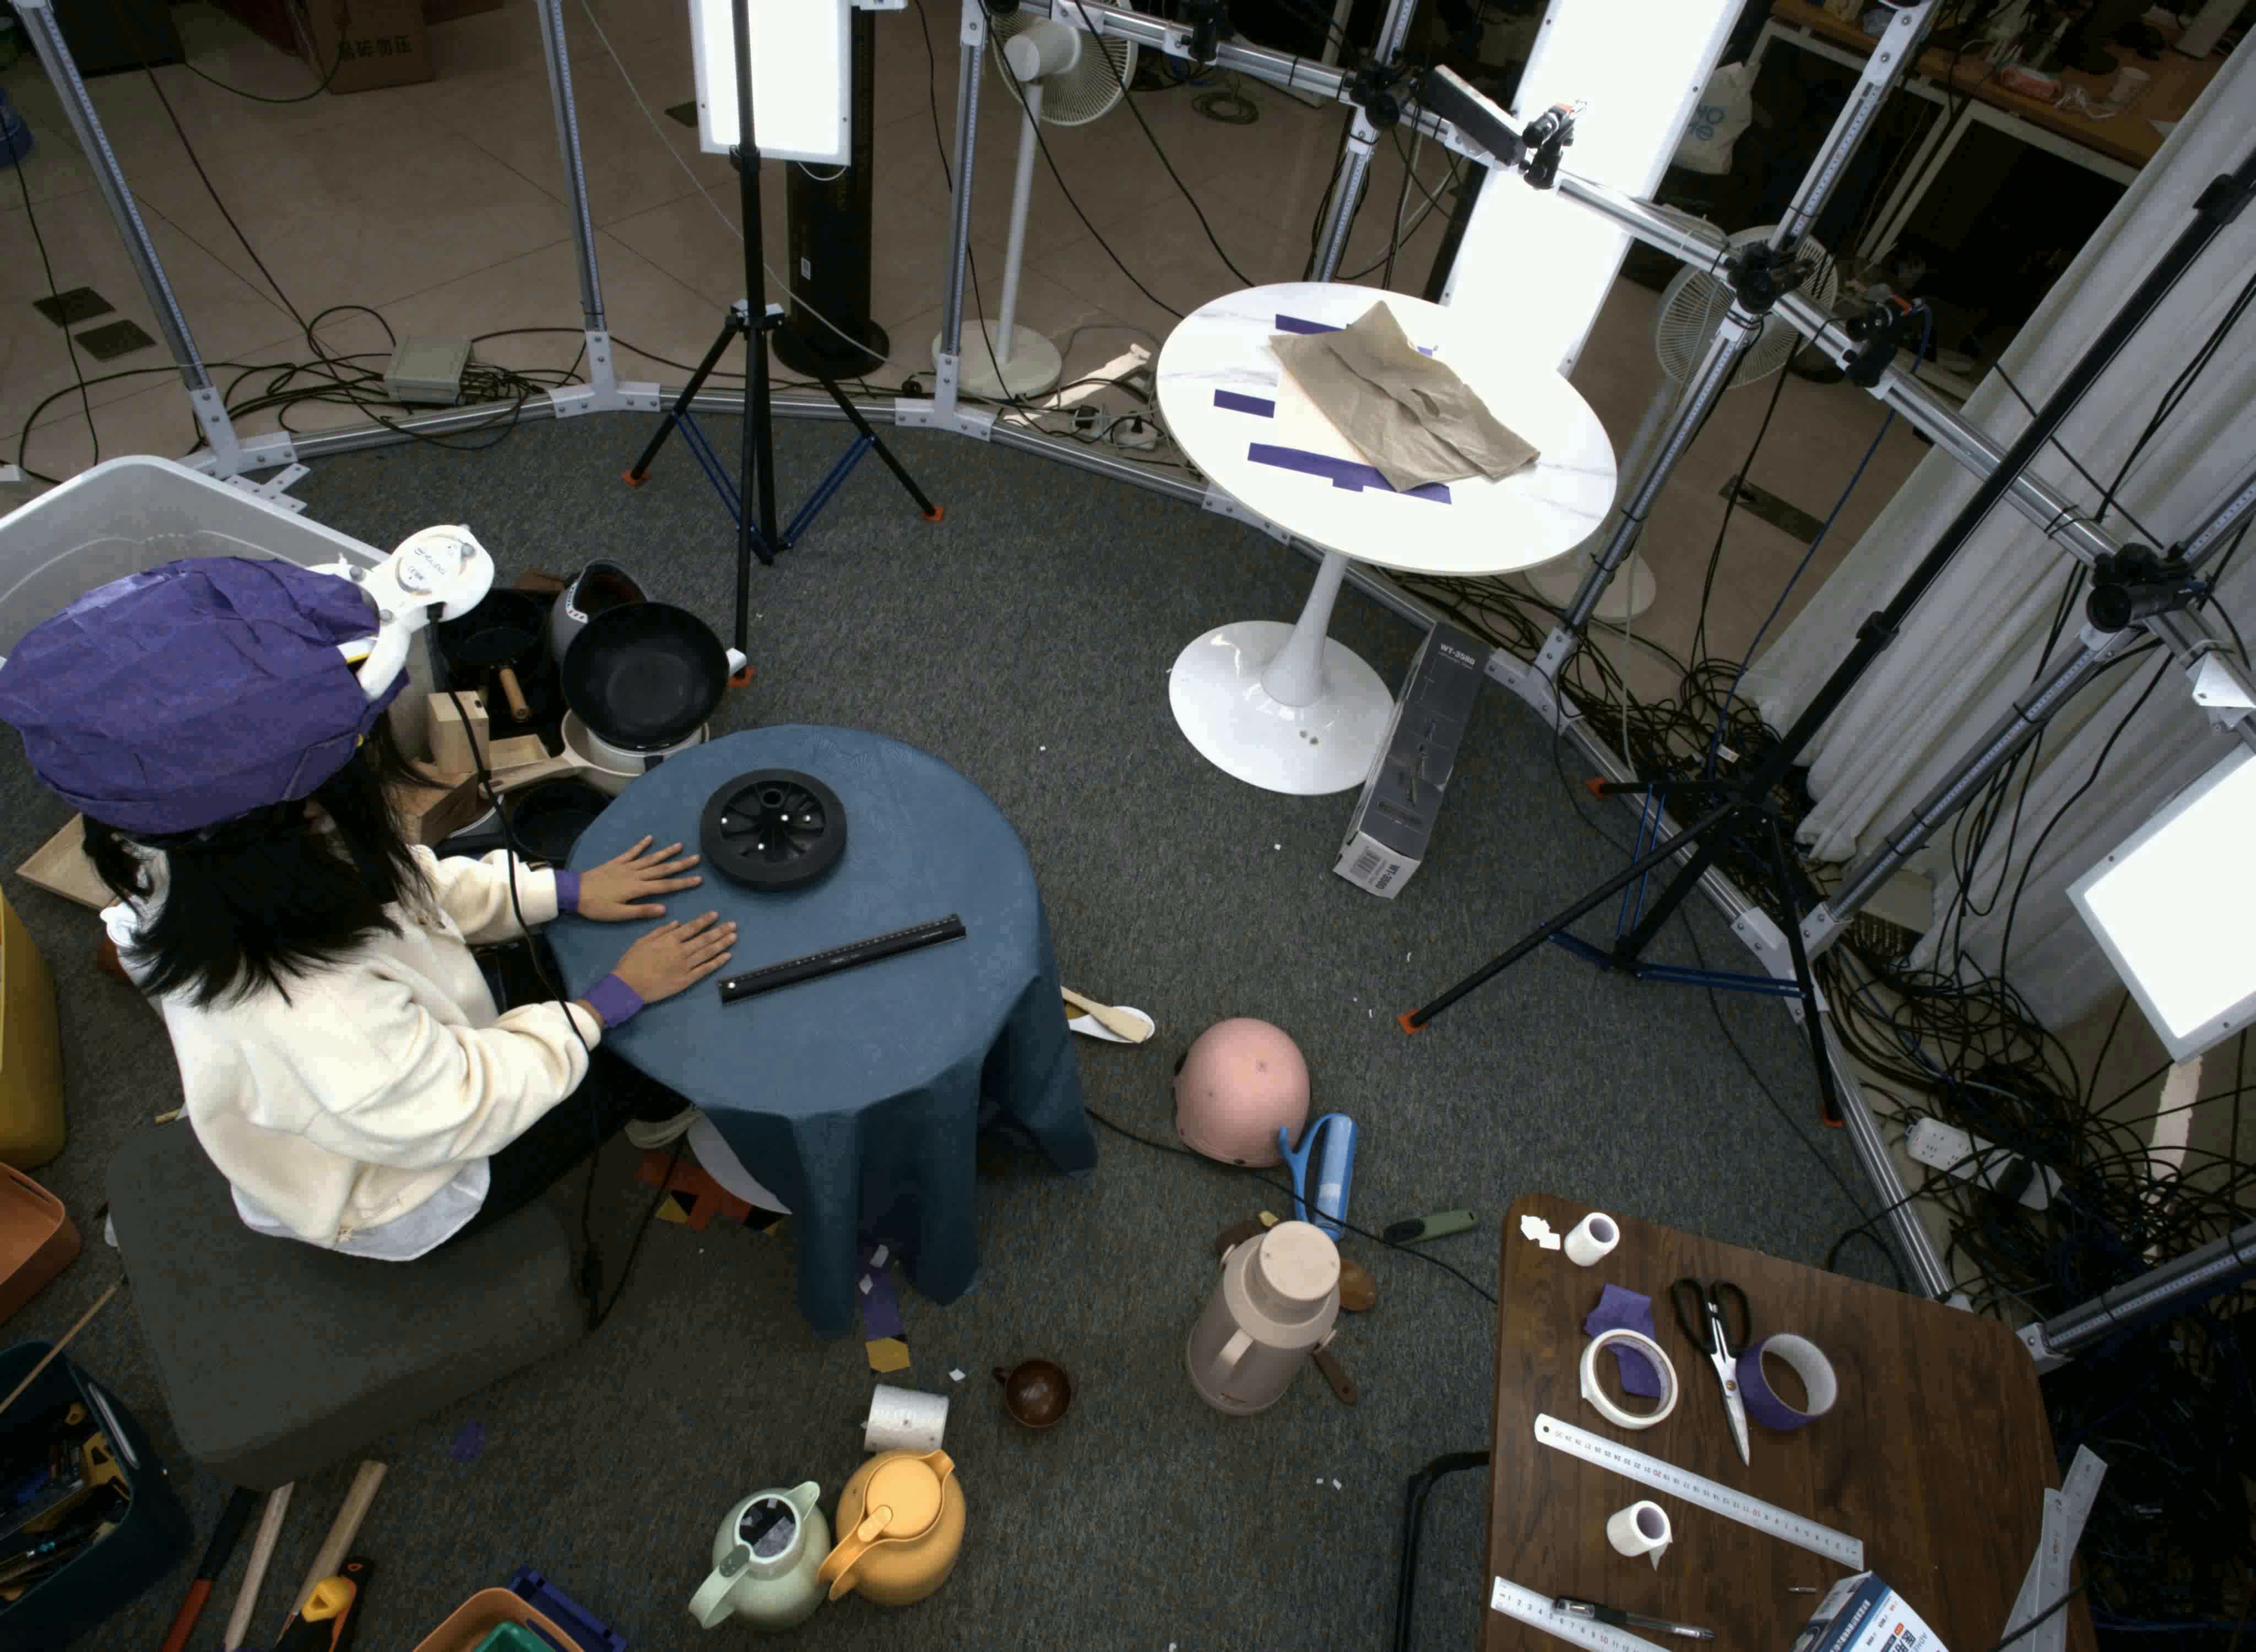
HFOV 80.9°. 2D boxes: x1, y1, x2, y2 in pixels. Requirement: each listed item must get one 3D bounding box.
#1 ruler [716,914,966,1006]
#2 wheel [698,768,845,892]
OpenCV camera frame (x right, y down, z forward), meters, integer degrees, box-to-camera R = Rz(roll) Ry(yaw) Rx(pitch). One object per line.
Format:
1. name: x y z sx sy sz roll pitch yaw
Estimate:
1. ruler: -0.352 0.158 1.610 0.314 0.017 0.038 -15 55 -23
2. wheel: -0.460 -0.012 1.669 0.186 0.081 0.187 12 51 -5
